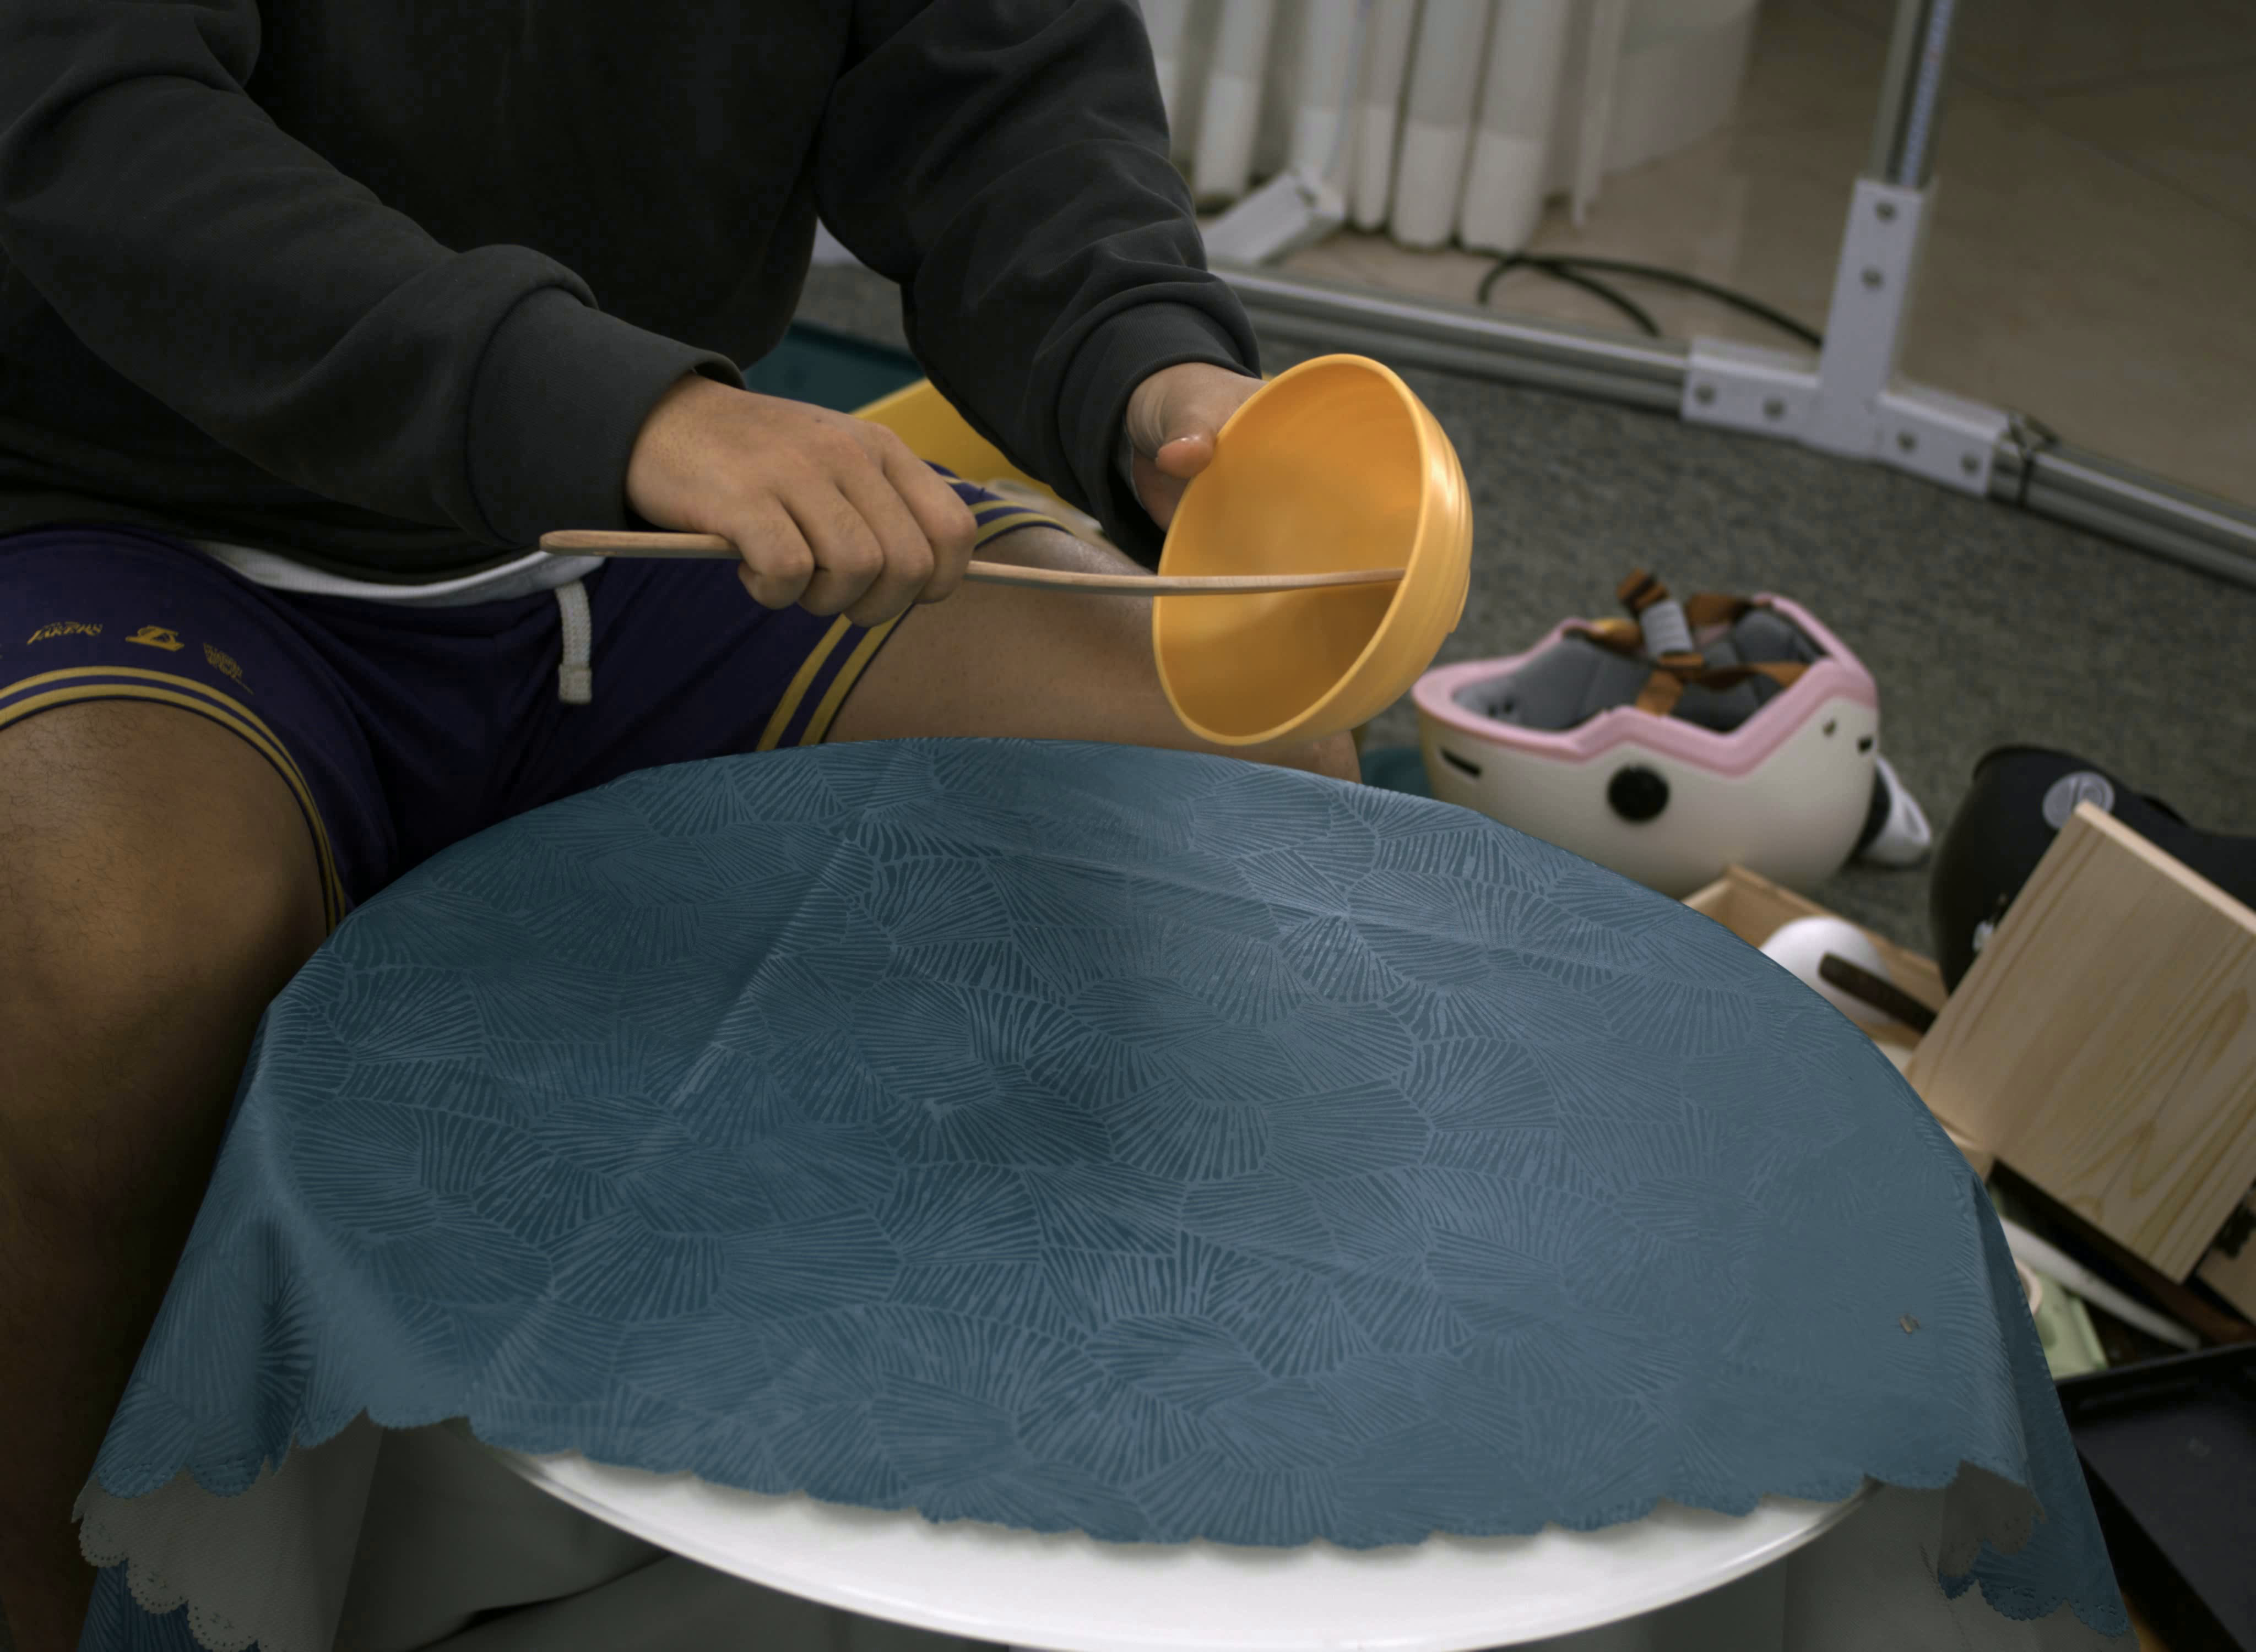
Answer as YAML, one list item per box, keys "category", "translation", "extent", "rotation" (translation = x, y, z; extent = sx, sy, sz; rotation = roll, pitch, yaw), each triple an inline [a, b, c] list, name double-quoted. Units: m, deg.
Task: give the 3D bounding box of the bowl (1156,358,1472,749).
- category: "bowl"
  translation: [0.077, -0.087, 1.876]
  extent: [0.059, 0.145, 0.146]
  rotation: [23, 17, -32]

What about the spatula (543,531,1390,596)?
- category: "spatula"
  translation: [-0.047, -0.090, 1.813]
  extent: [0.325, 0.016, 0.080]
  rotation: [3, -3, -28]
